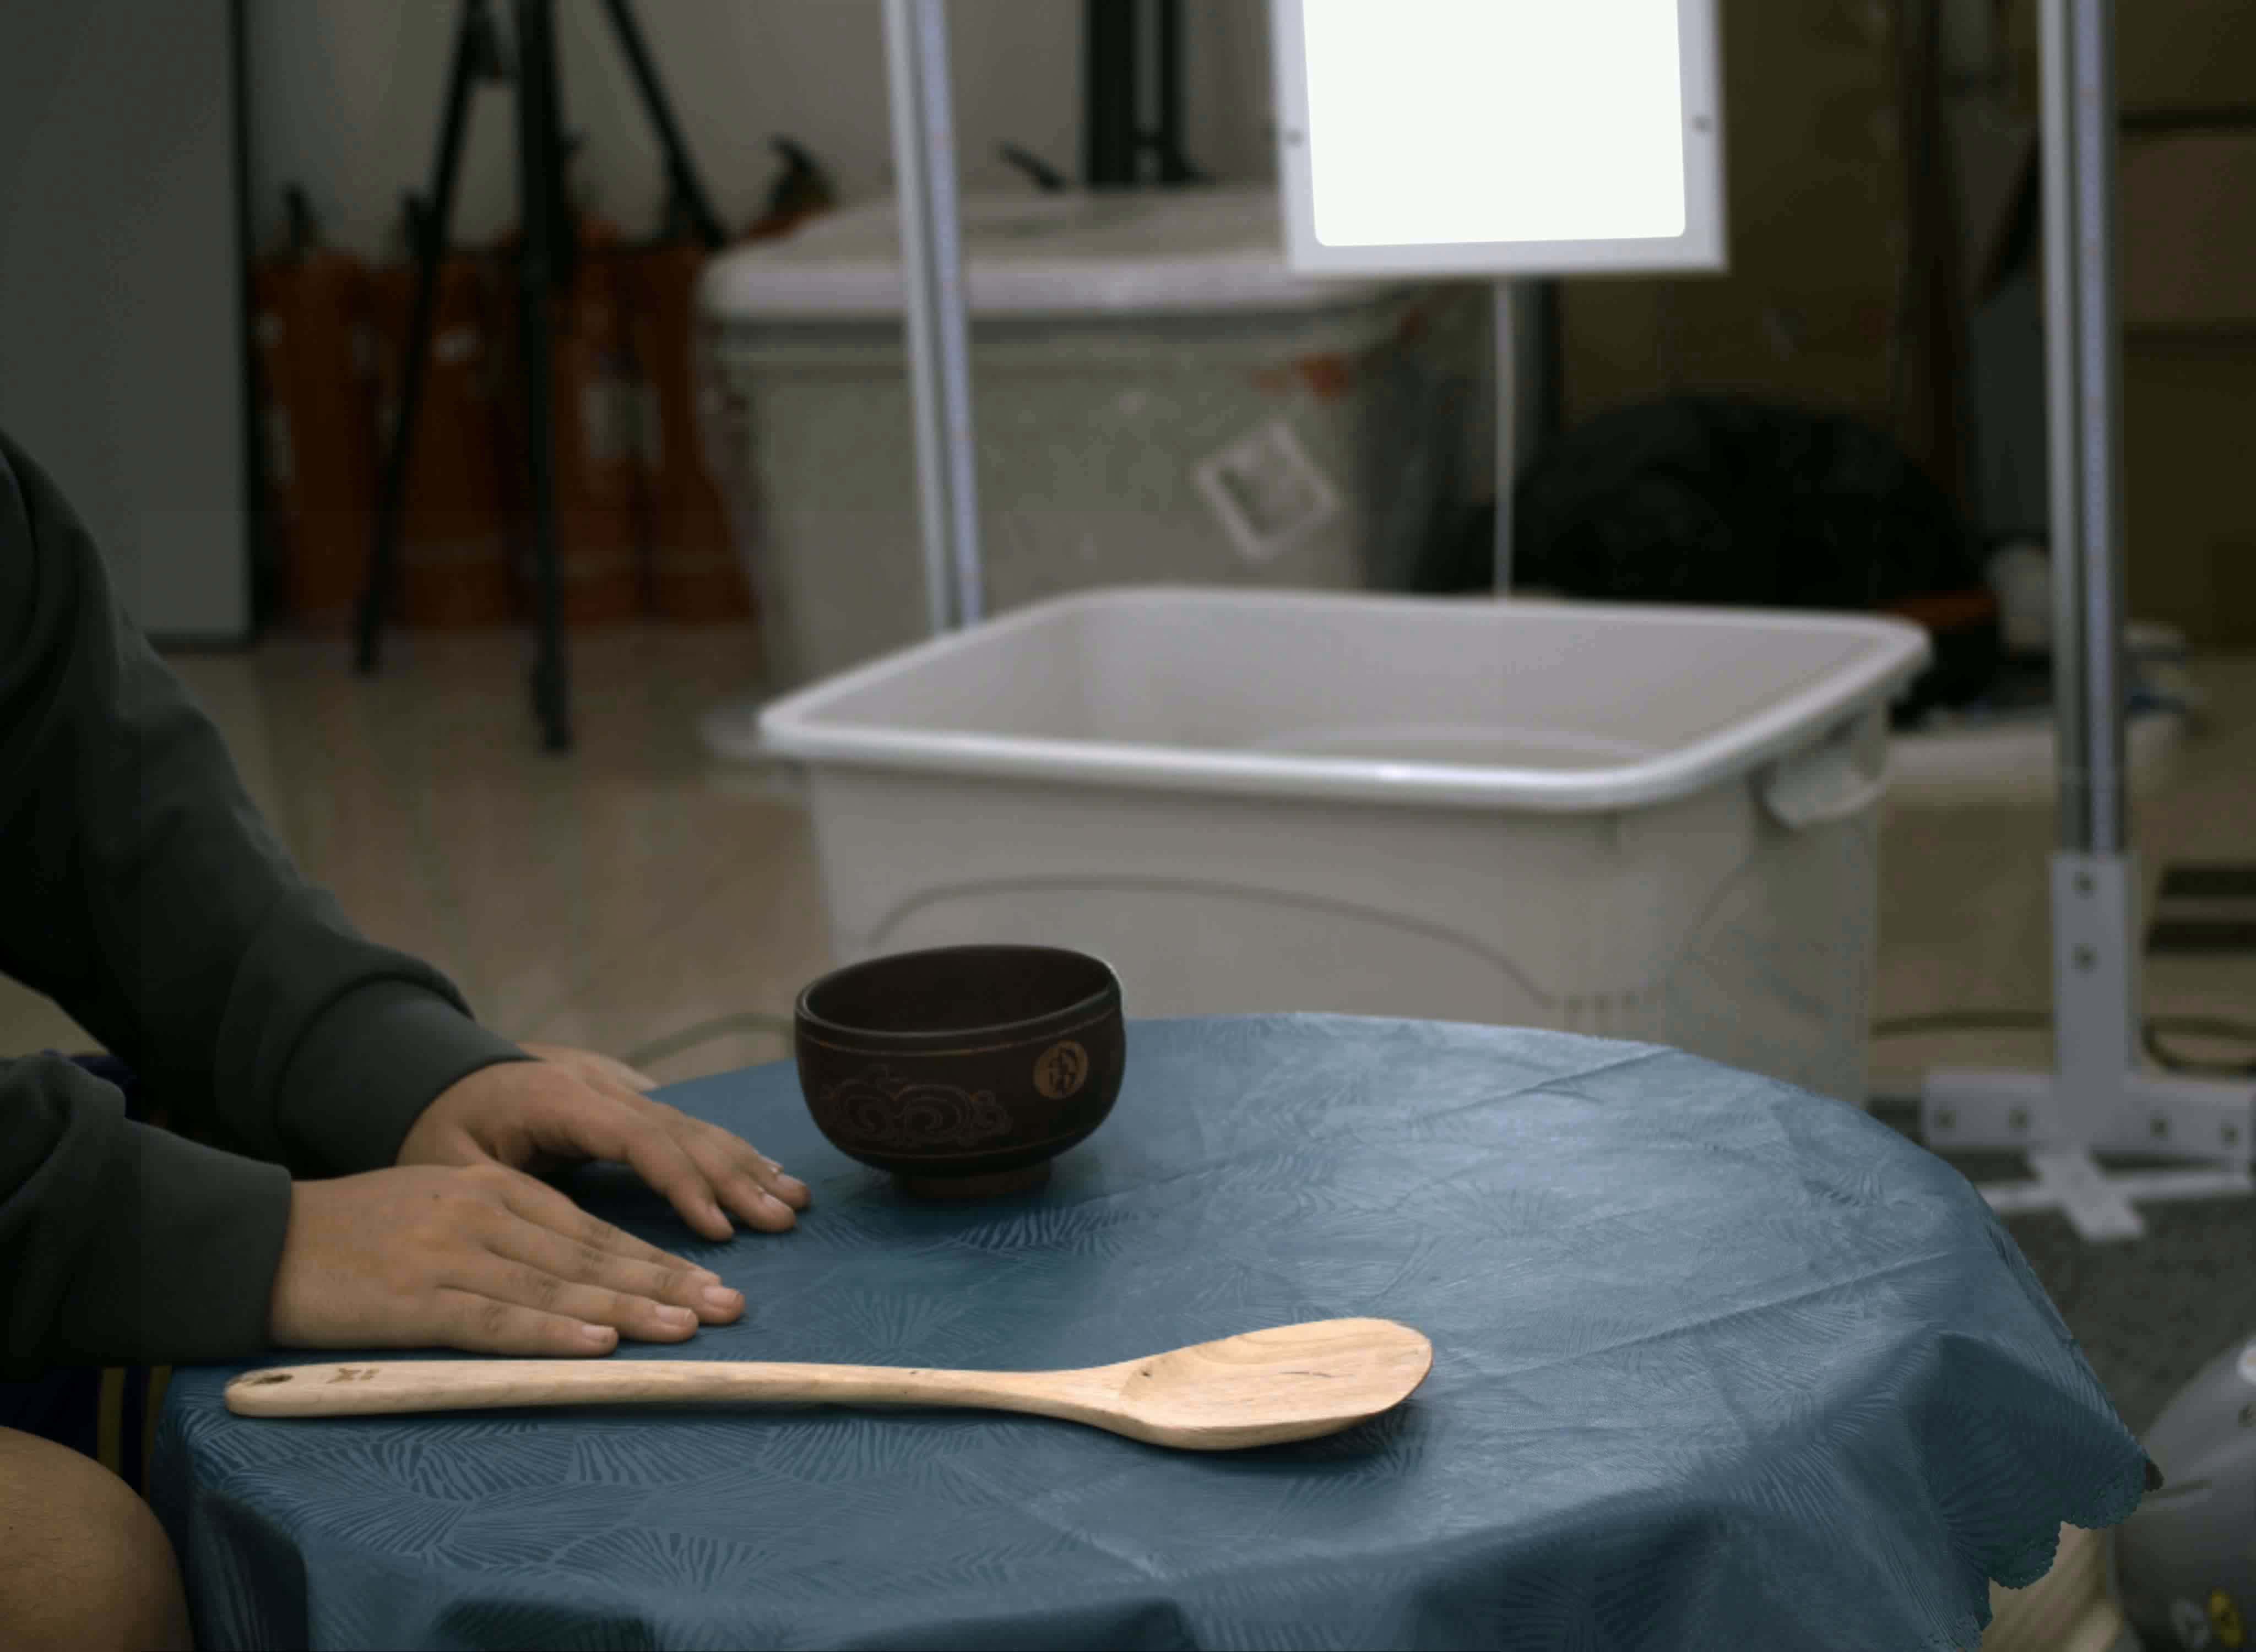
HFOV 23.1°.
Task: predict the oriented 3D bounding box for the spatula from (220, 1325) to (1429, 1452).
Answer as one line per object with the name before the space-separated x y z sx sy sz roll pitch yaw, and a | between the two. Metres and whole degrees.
spatula | -0.100 0.174 1.703 0.394 0.018 0.094 -1 12 16

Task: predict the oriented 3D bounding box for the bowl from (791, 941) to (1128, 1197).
bowl | -0.057 0.088 1.924 0.118 0.070 0.118 -7 13 0
